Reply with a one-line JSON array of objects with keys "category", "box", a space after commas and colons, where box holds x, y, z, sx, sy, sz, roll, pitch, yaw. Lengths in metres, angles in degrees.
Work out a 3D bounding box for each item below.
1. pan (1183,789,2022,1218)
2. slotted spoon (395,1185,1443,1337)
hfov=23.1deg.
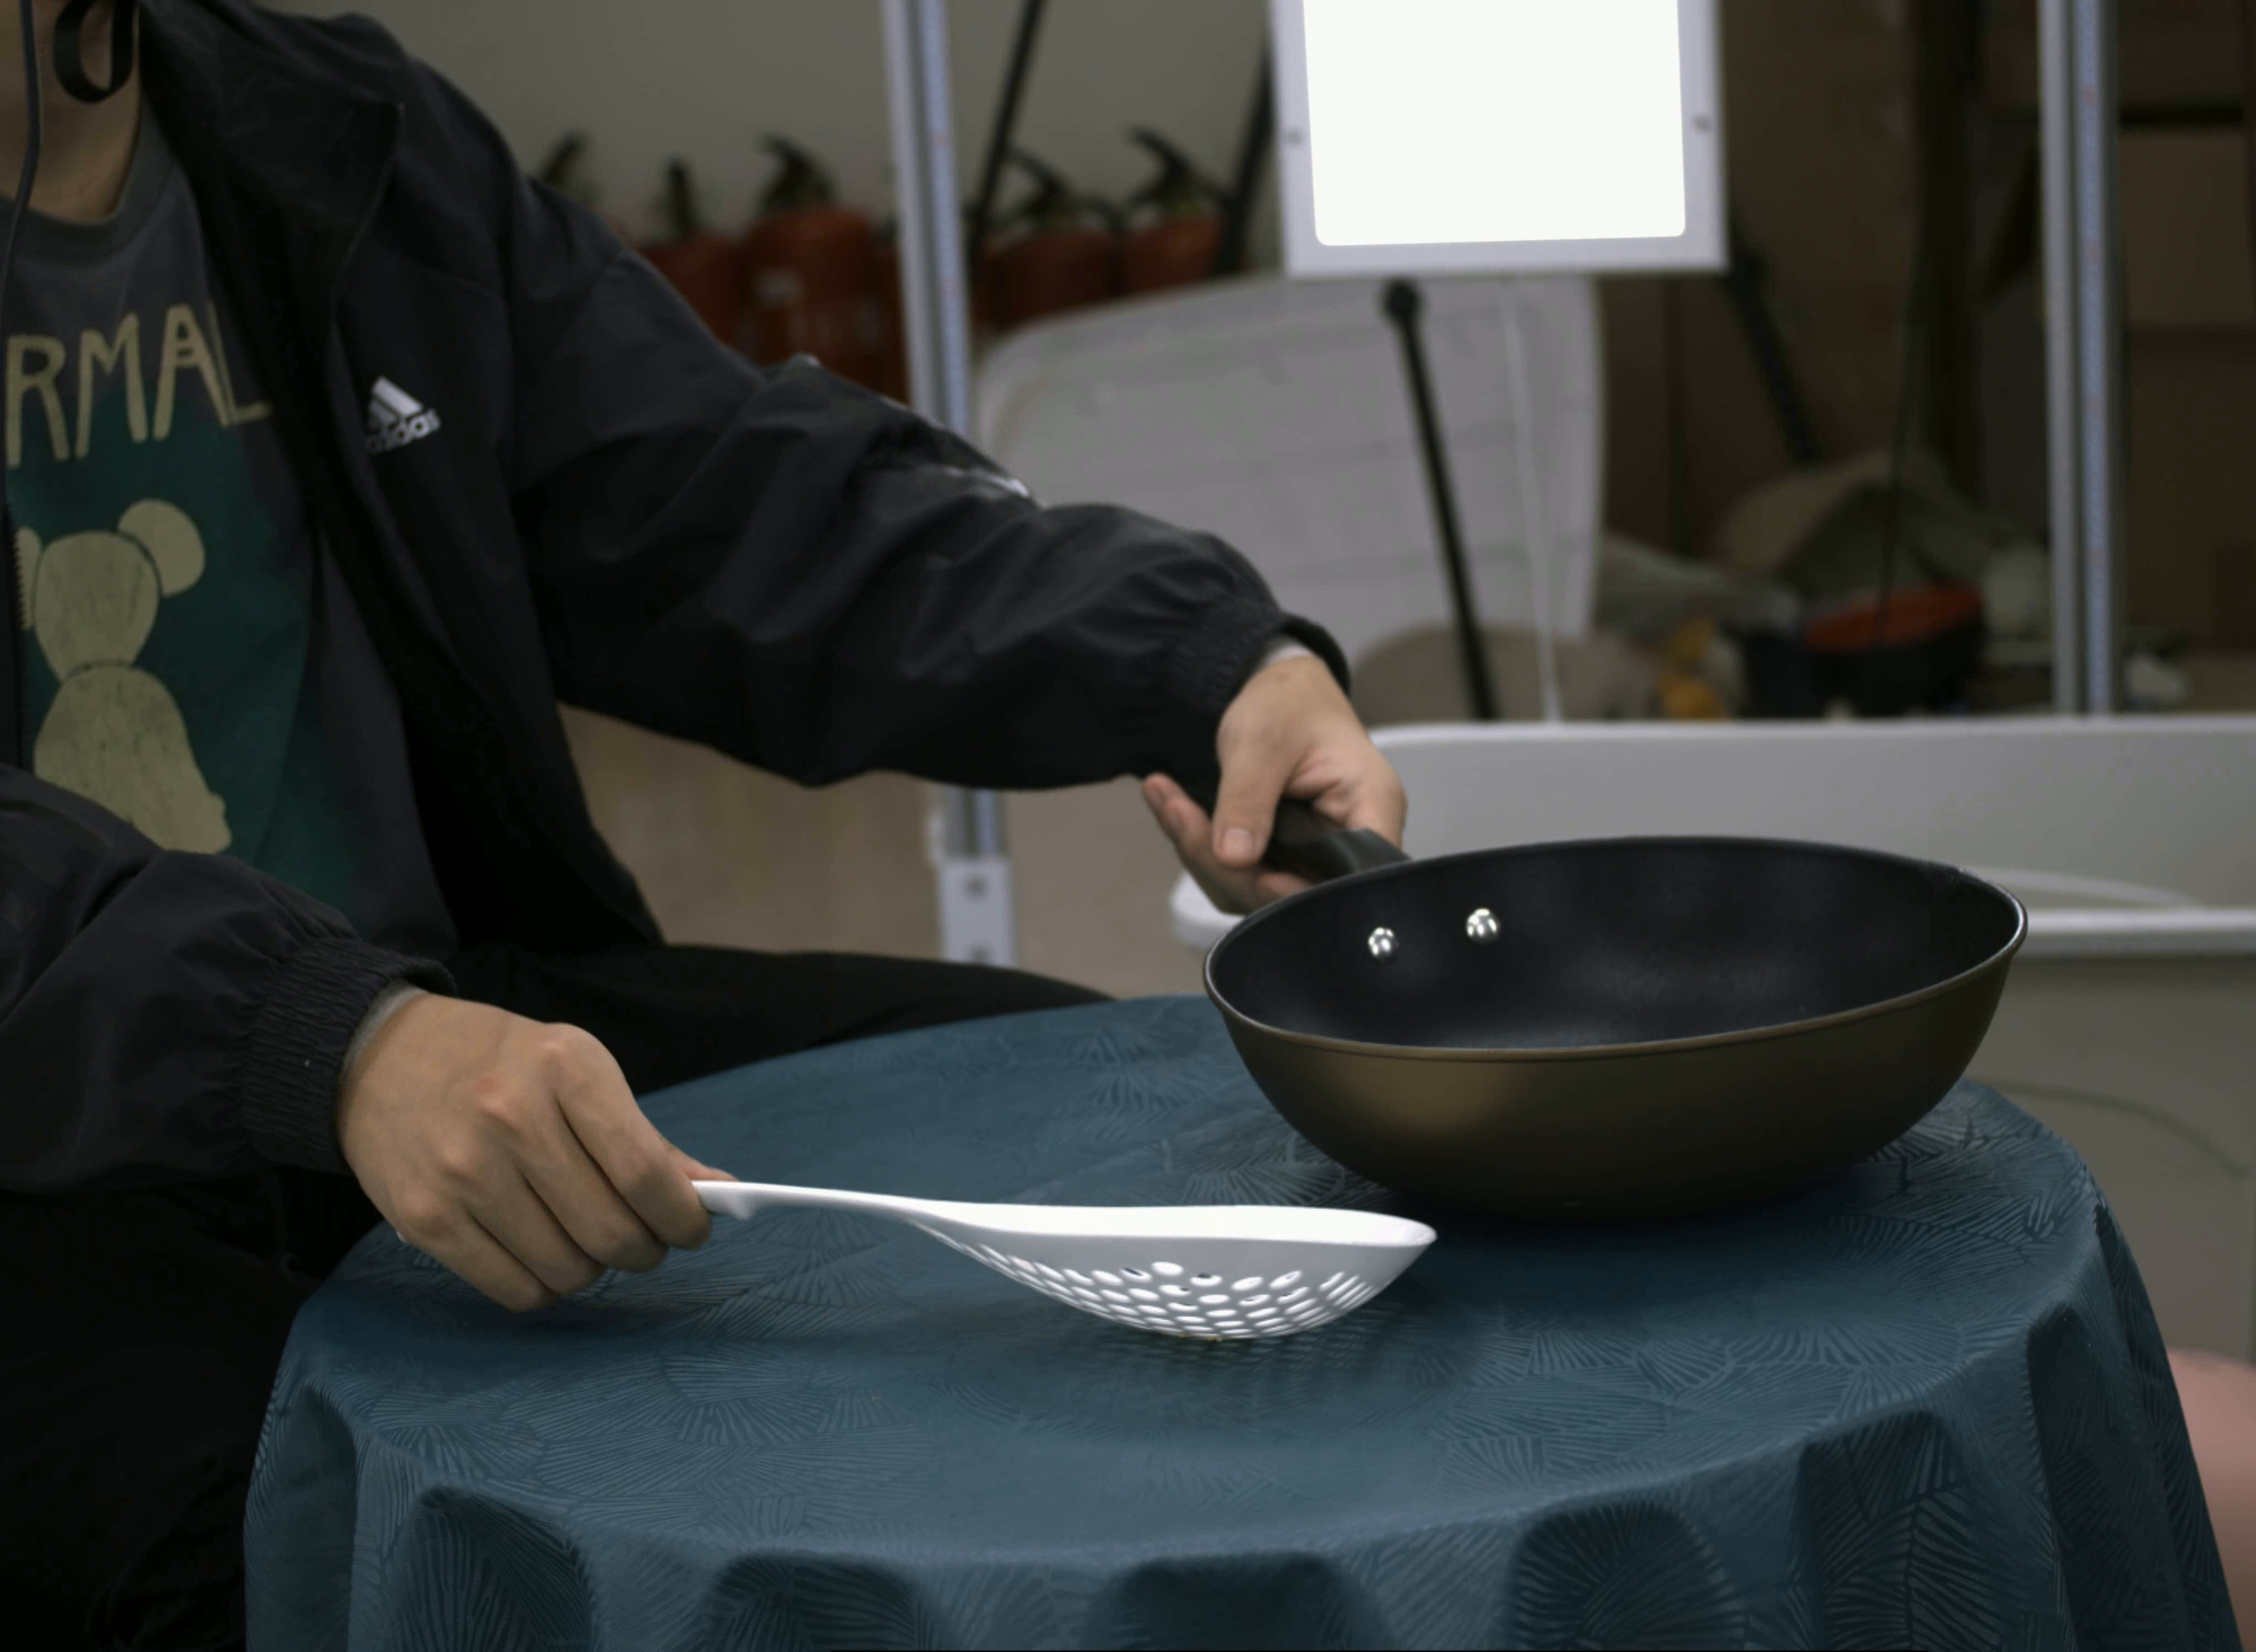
[{"category": "pan", "box": [0.127, 0.059, 1.955, 0.282, 0.087, 0.471, -11, 13, -24]}, {"category": "slotted spoon", "box": [-0.071, 0.132, 1.769, 0.352, 0.050, 0.134, 4, 2, 20]}]
